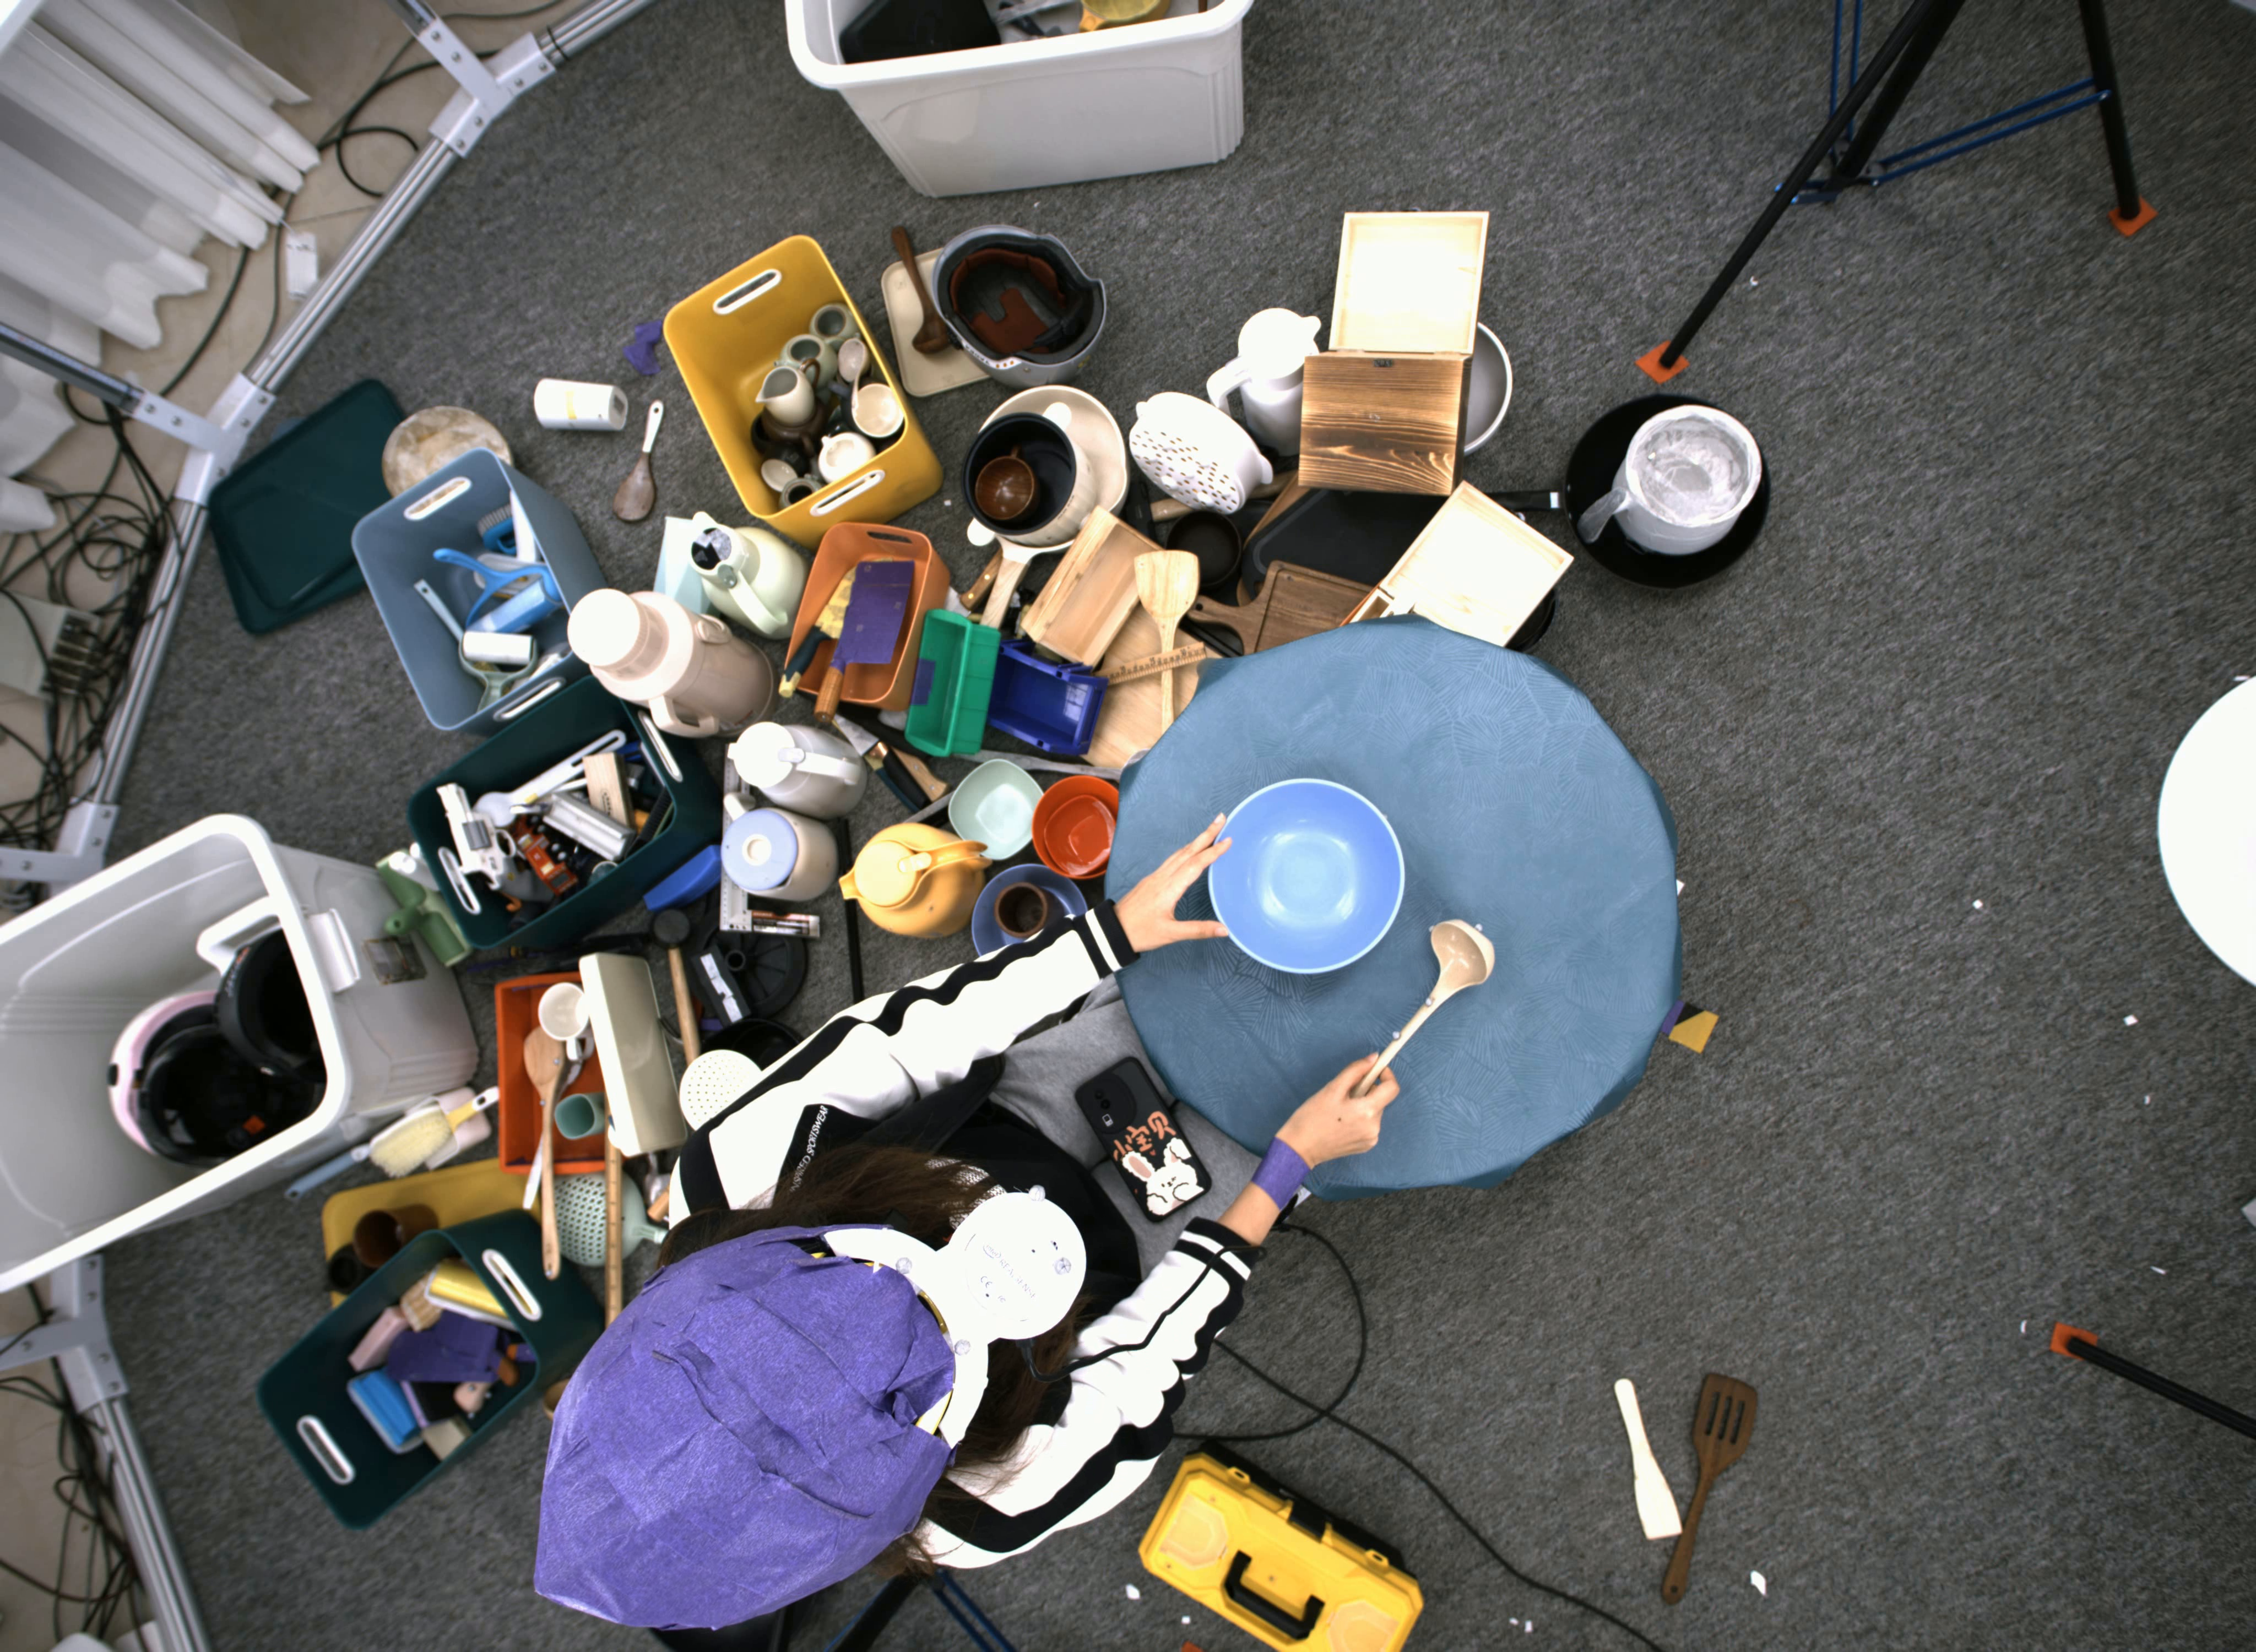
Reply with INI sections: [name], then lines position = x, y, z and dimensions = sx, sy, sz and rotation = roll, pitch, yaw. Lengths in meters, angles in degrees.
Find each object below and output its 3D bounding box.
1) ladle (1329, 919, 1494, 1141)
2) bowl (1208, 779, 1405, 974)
[ladle]
position = 0.271, 0.202, 1.379
dimensions = 0.071, 0.073, 0.254
rotation = 37, 87, 33
[bowl]
position = 0.185, 0.053, 1.432
dimensions = 0.197, 0.095, 0.196
rotation = -1, 88, 10
